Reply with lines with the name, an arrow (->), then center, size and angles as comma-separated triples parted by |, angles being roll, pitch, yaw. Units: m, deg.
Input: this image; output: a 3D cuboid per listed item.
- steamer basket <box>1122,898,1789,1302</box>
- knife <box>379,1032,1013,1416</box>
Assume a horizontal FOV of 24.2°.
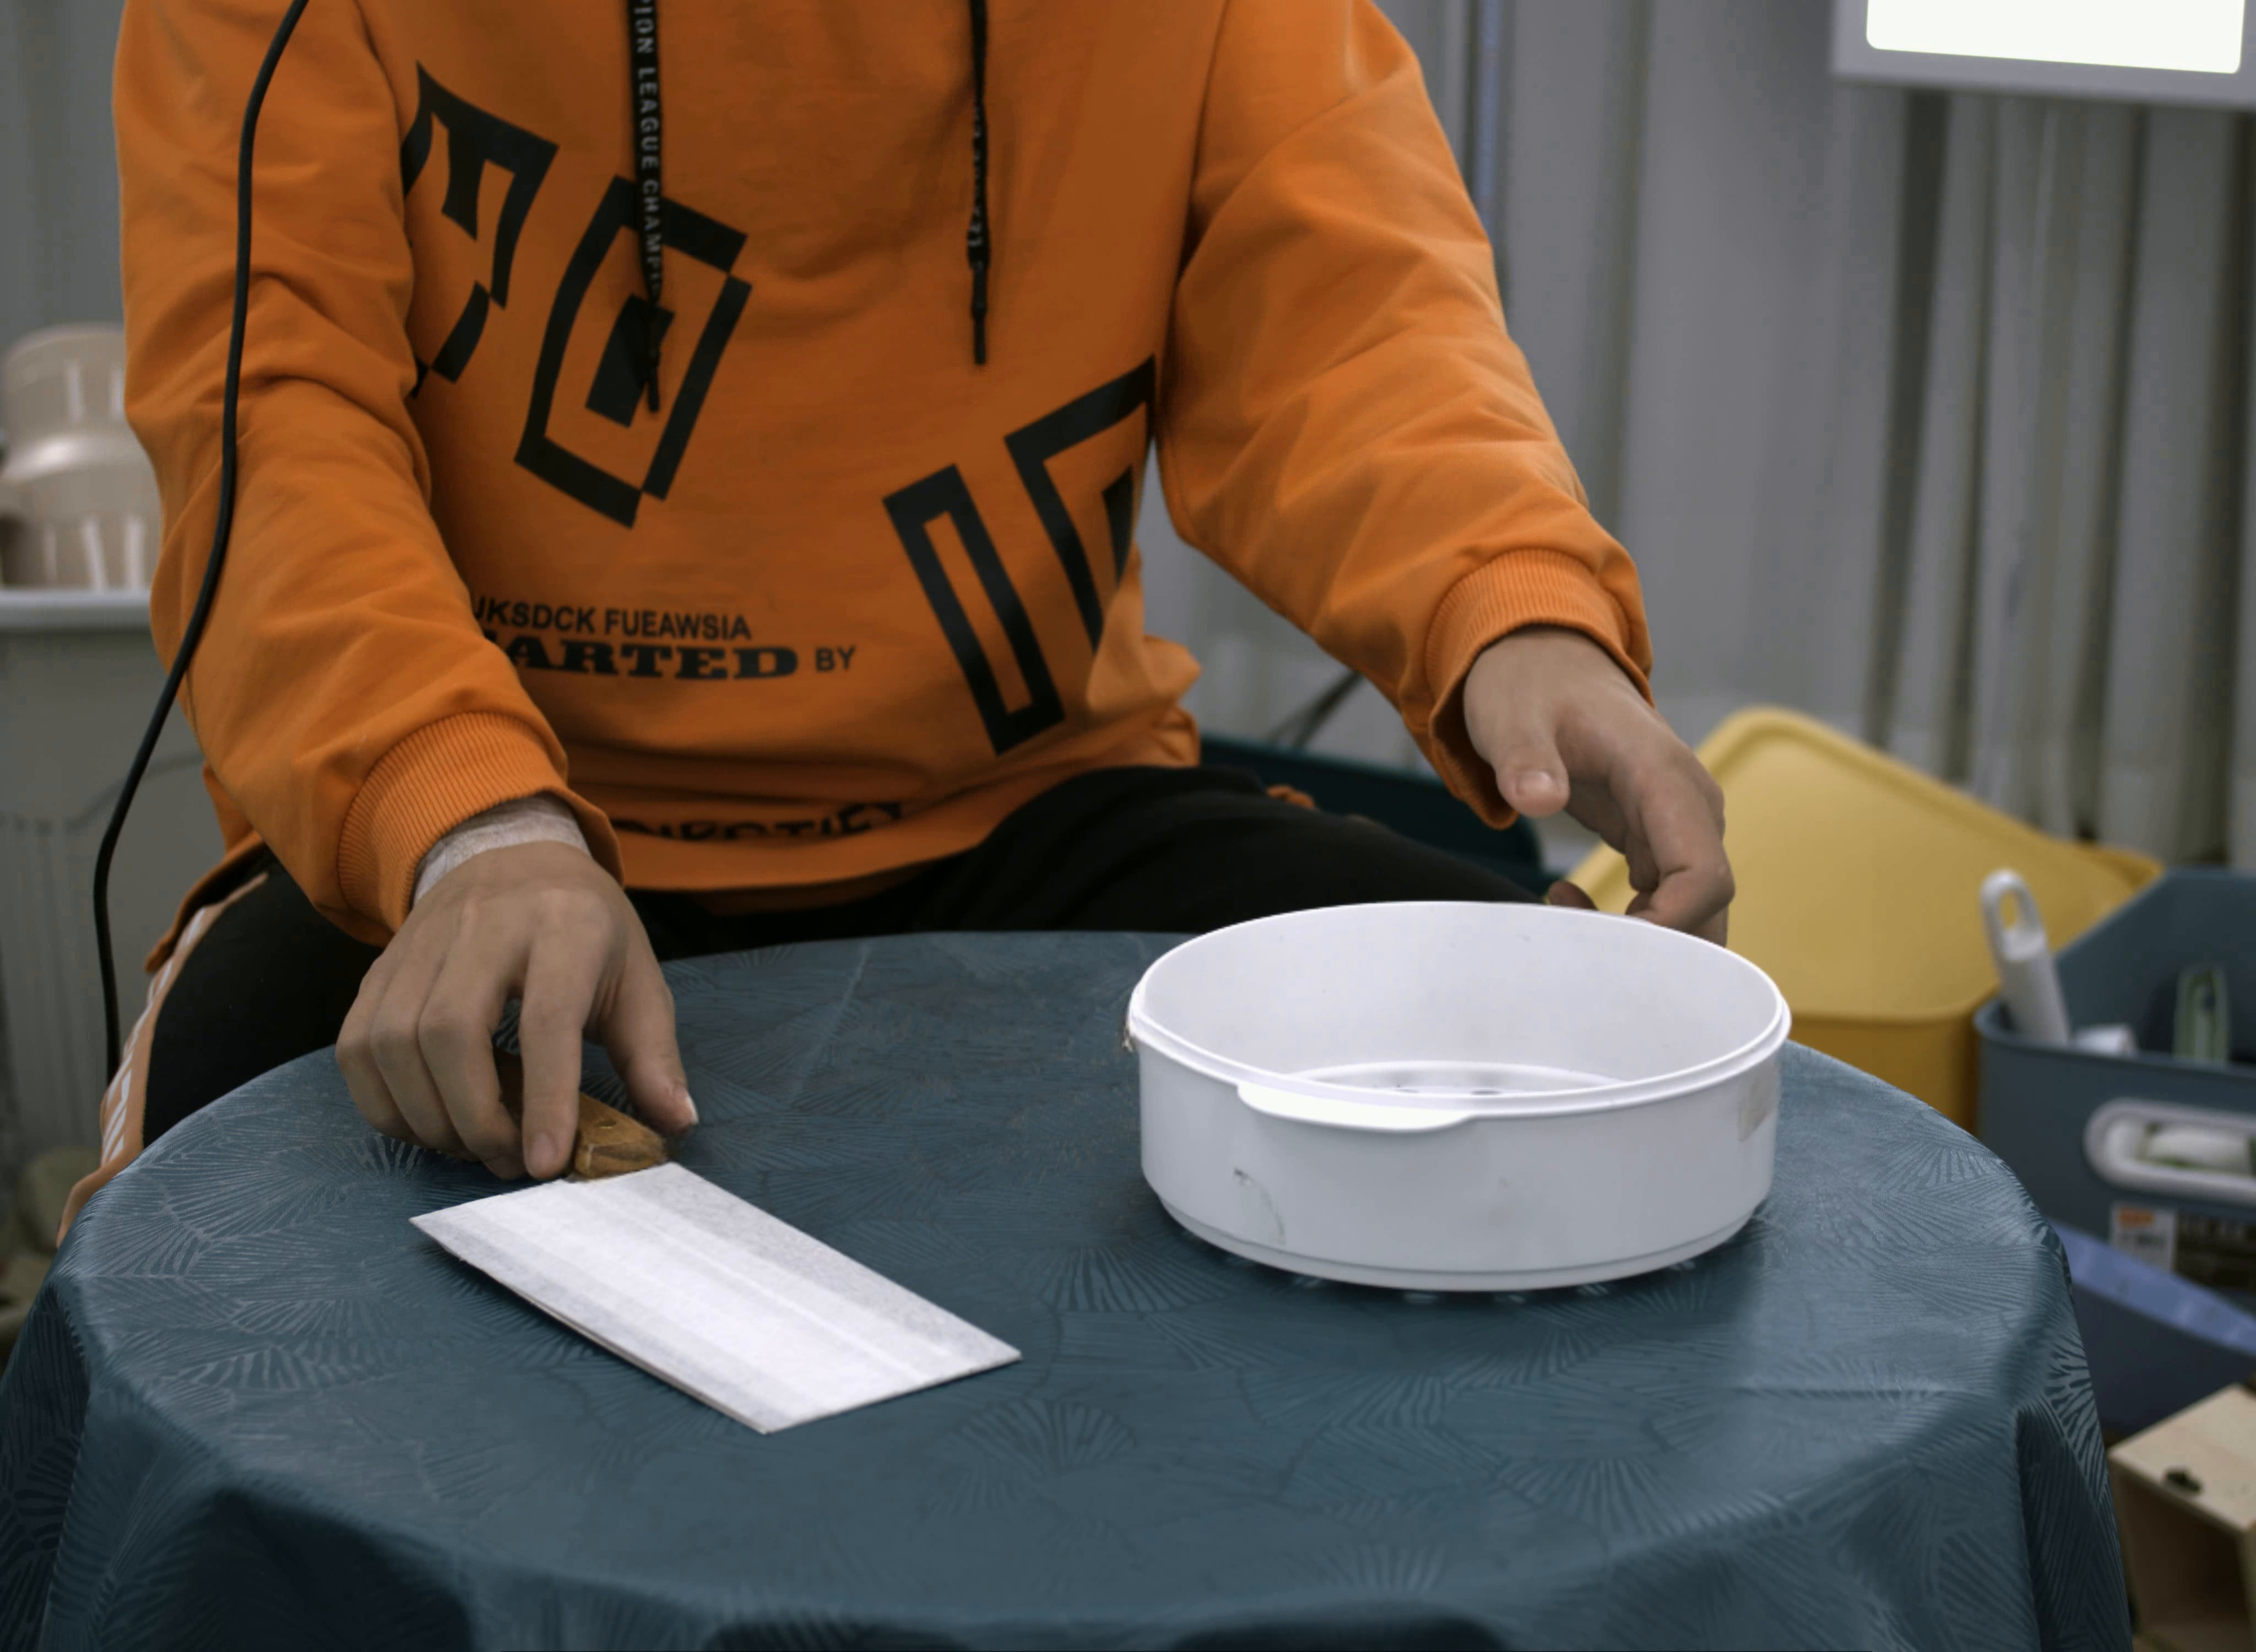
steamer basket -> 0.099, 0.083, 1.602 | 0.200, 0.070, 0.231 | 6, 18, 21
knife -> -0.156, 0.118, 1.568 | 0.093, 0.021, 0.301 | -13, 23, -36
